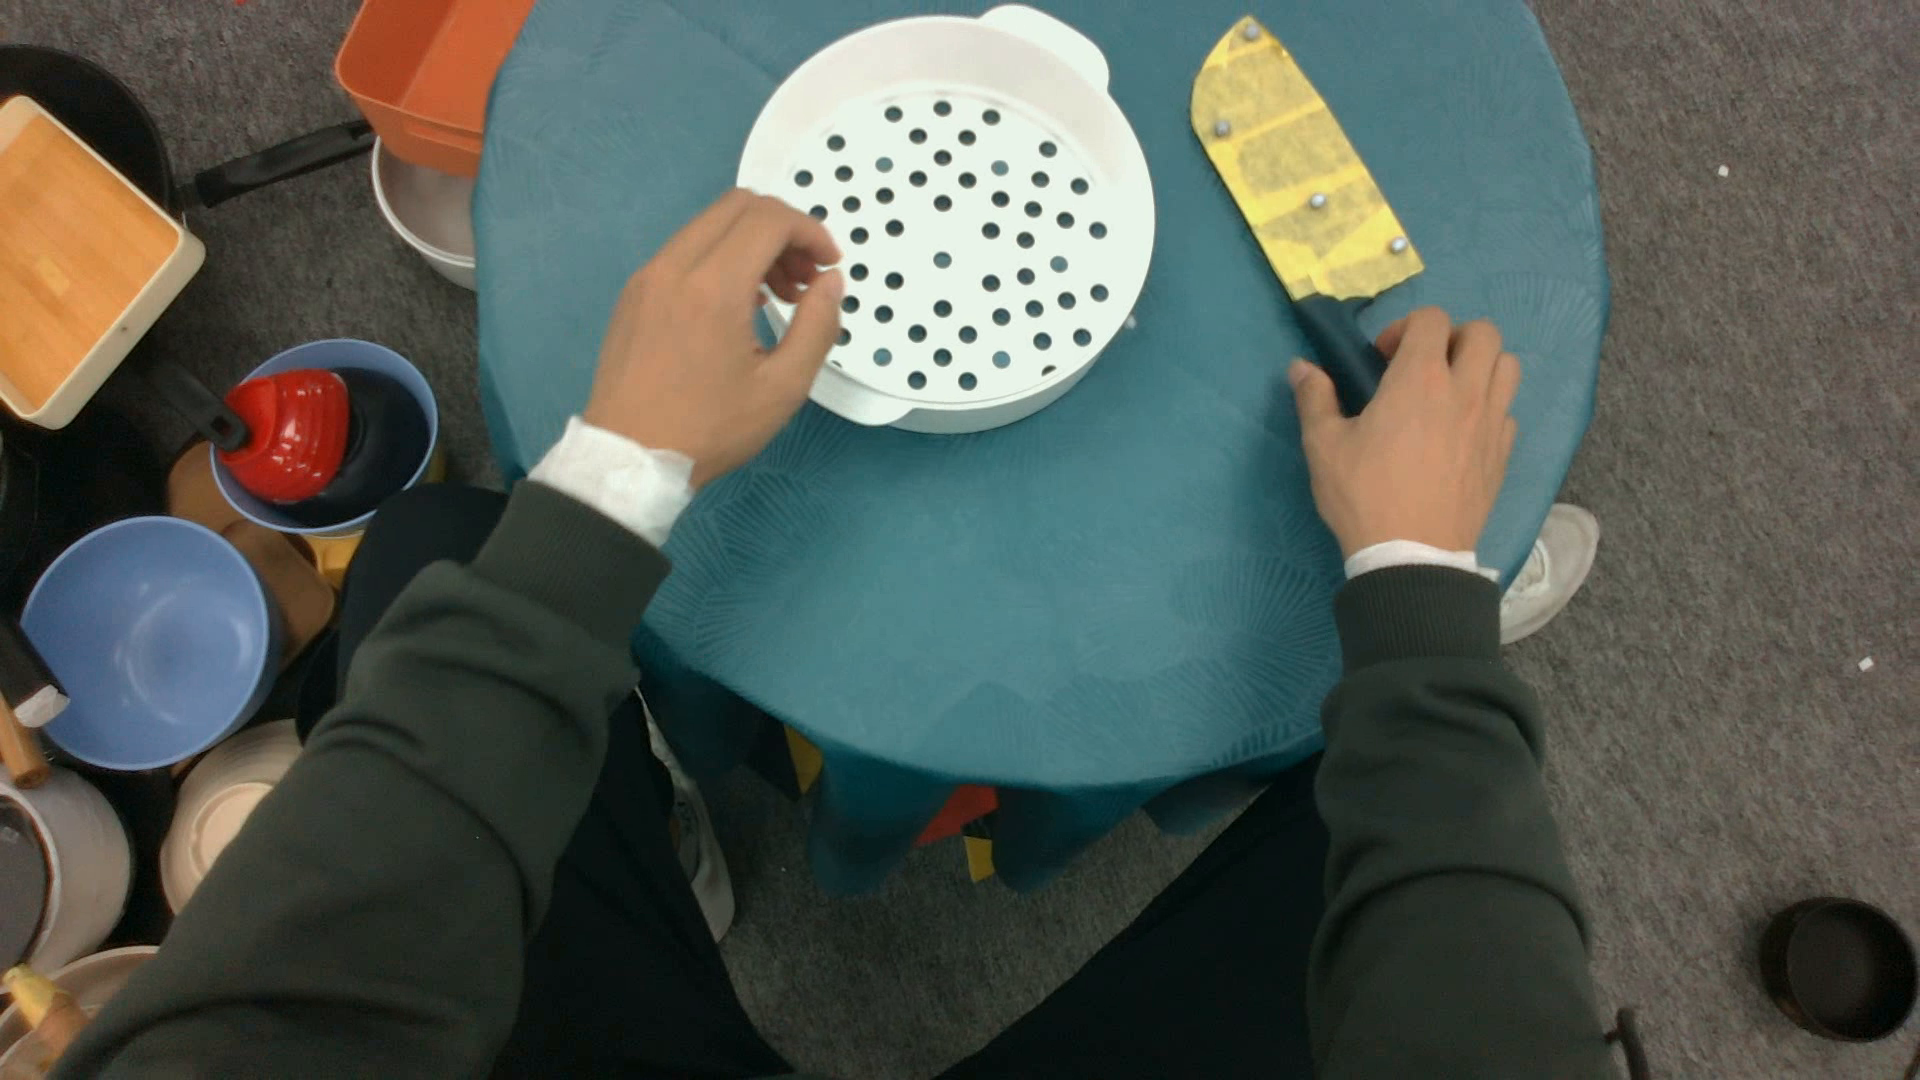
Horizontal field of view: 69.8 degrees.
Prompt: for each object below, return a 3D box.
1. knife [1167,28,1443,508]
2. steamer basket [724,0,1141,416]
[{"bbox_3d":[0.190,-0.152,0.732,0.081,0.027,0.290,-22,79,-7],"label":"knife"},{"bbox_3d":[-0.014,-0.161,0.691,0.202,0.069,0.231,30,78,3],"label":"steamer basket"}]
